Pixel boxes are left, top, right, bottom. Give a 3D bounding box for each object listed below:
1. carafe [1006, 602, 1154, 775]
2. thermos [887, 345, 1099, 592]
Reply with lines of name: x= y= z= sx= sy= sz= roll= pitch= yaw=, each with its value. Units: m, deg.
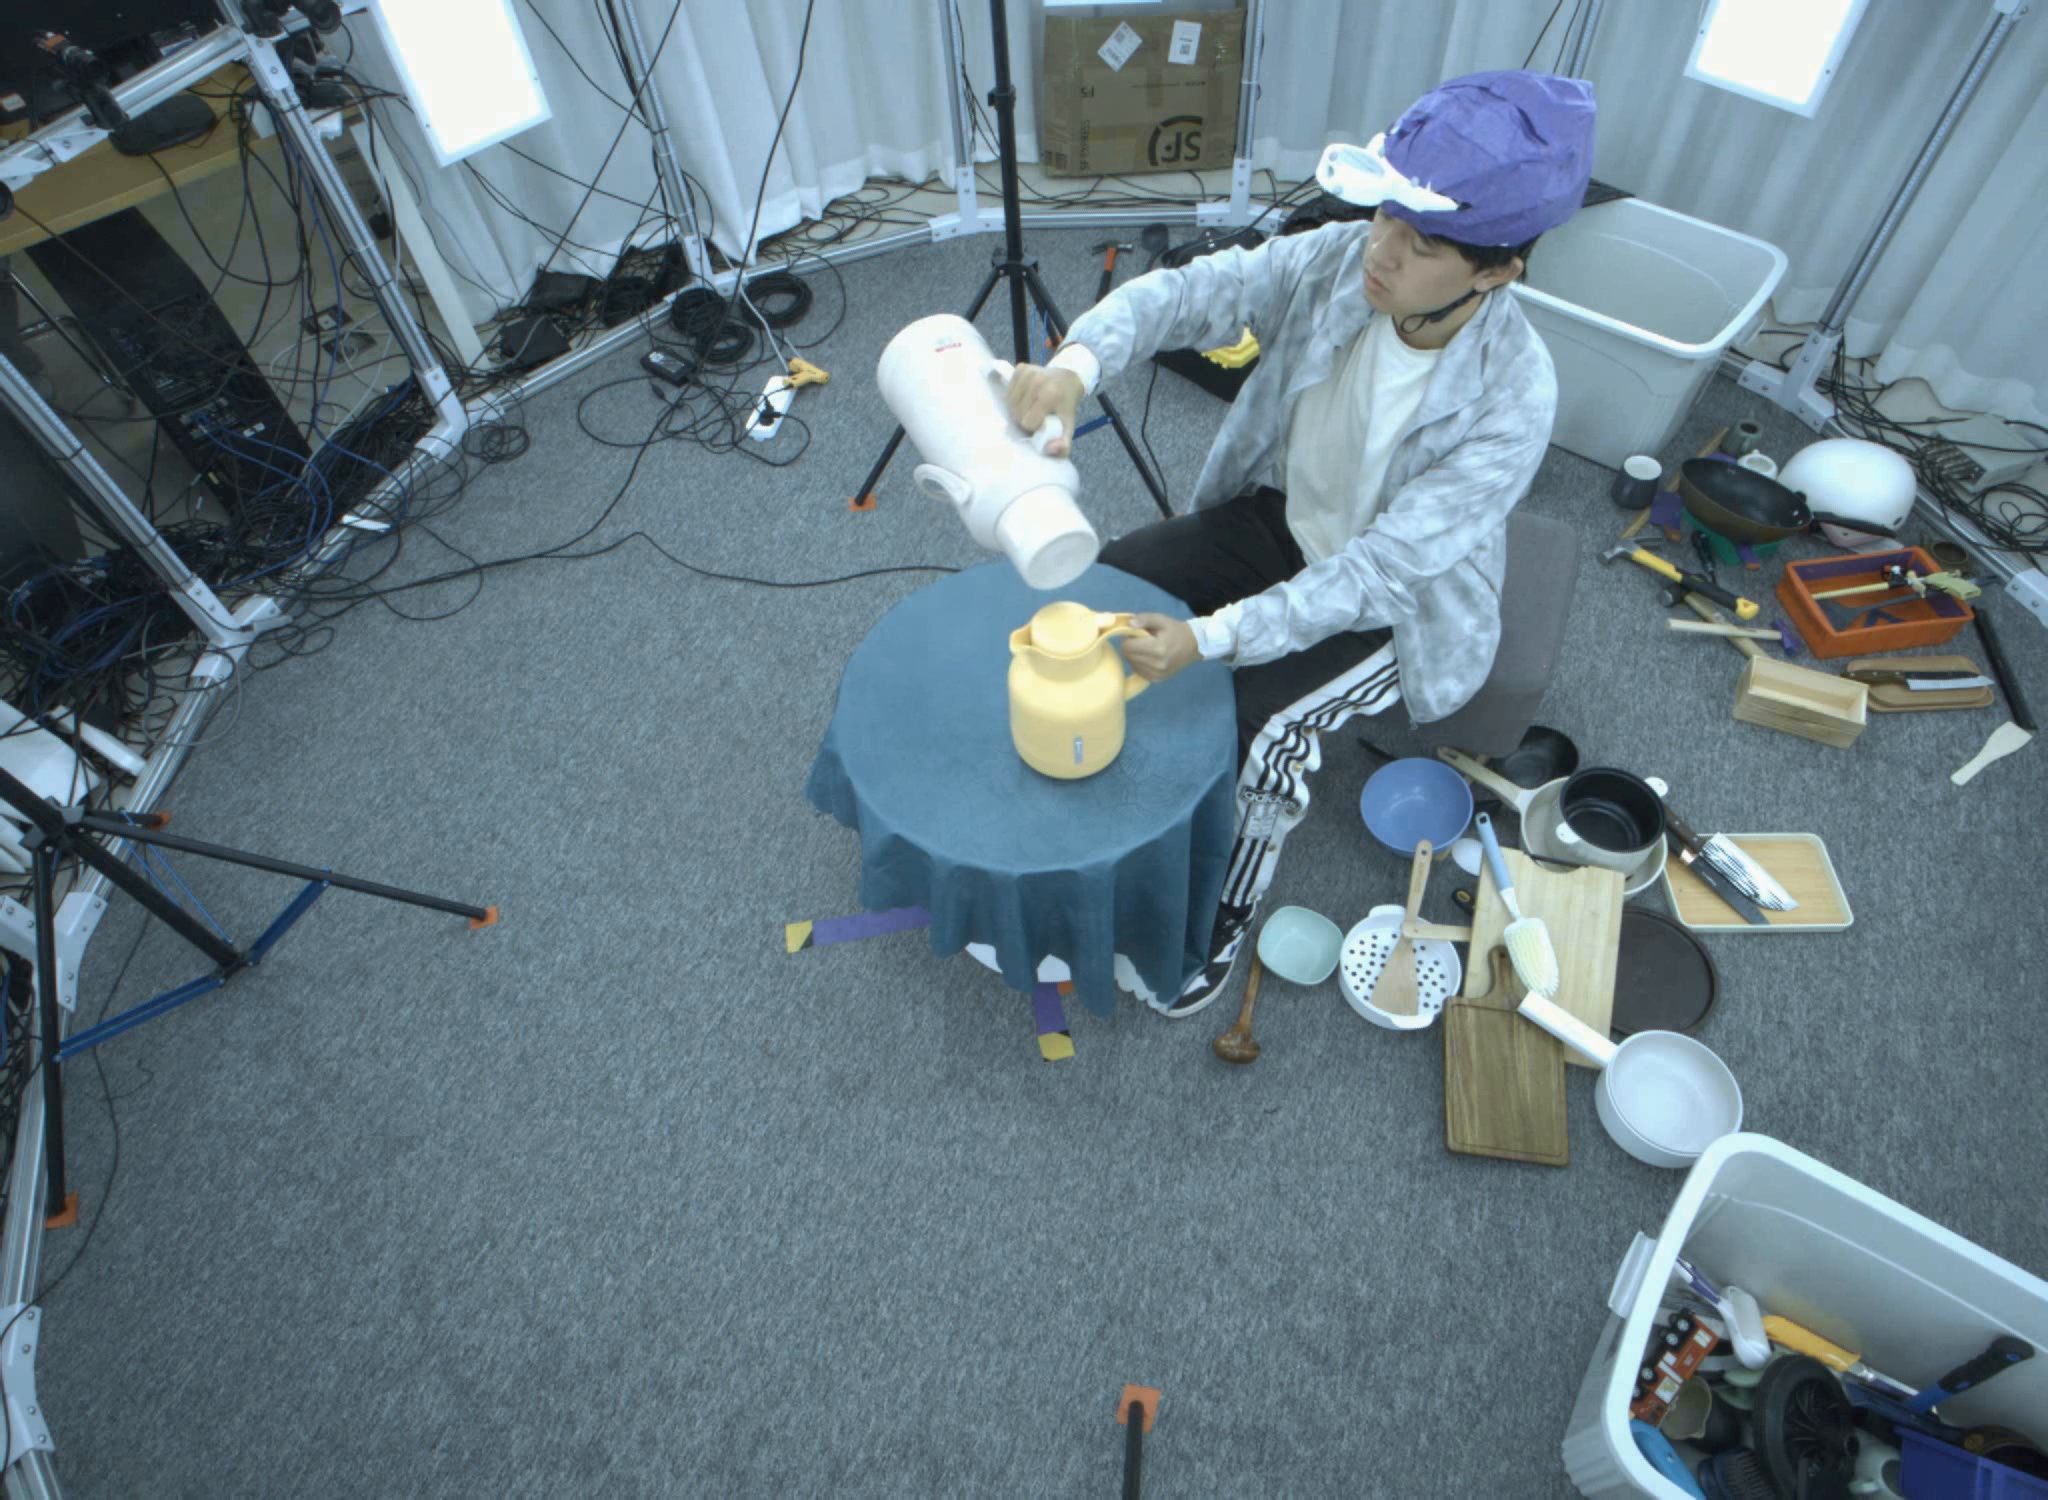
carafe: x=0.077 y=-0.092 z=1.691 sx=0.203 sy=0.263 sz=0.161 roll=-10 pitch=57 yaw=-2
thermos: x=-0.036 y=-0.393 z=1.581 sx=0.178 sy=0.206 sz=0.399 roll=-9 pitch=56 yaw=-35
